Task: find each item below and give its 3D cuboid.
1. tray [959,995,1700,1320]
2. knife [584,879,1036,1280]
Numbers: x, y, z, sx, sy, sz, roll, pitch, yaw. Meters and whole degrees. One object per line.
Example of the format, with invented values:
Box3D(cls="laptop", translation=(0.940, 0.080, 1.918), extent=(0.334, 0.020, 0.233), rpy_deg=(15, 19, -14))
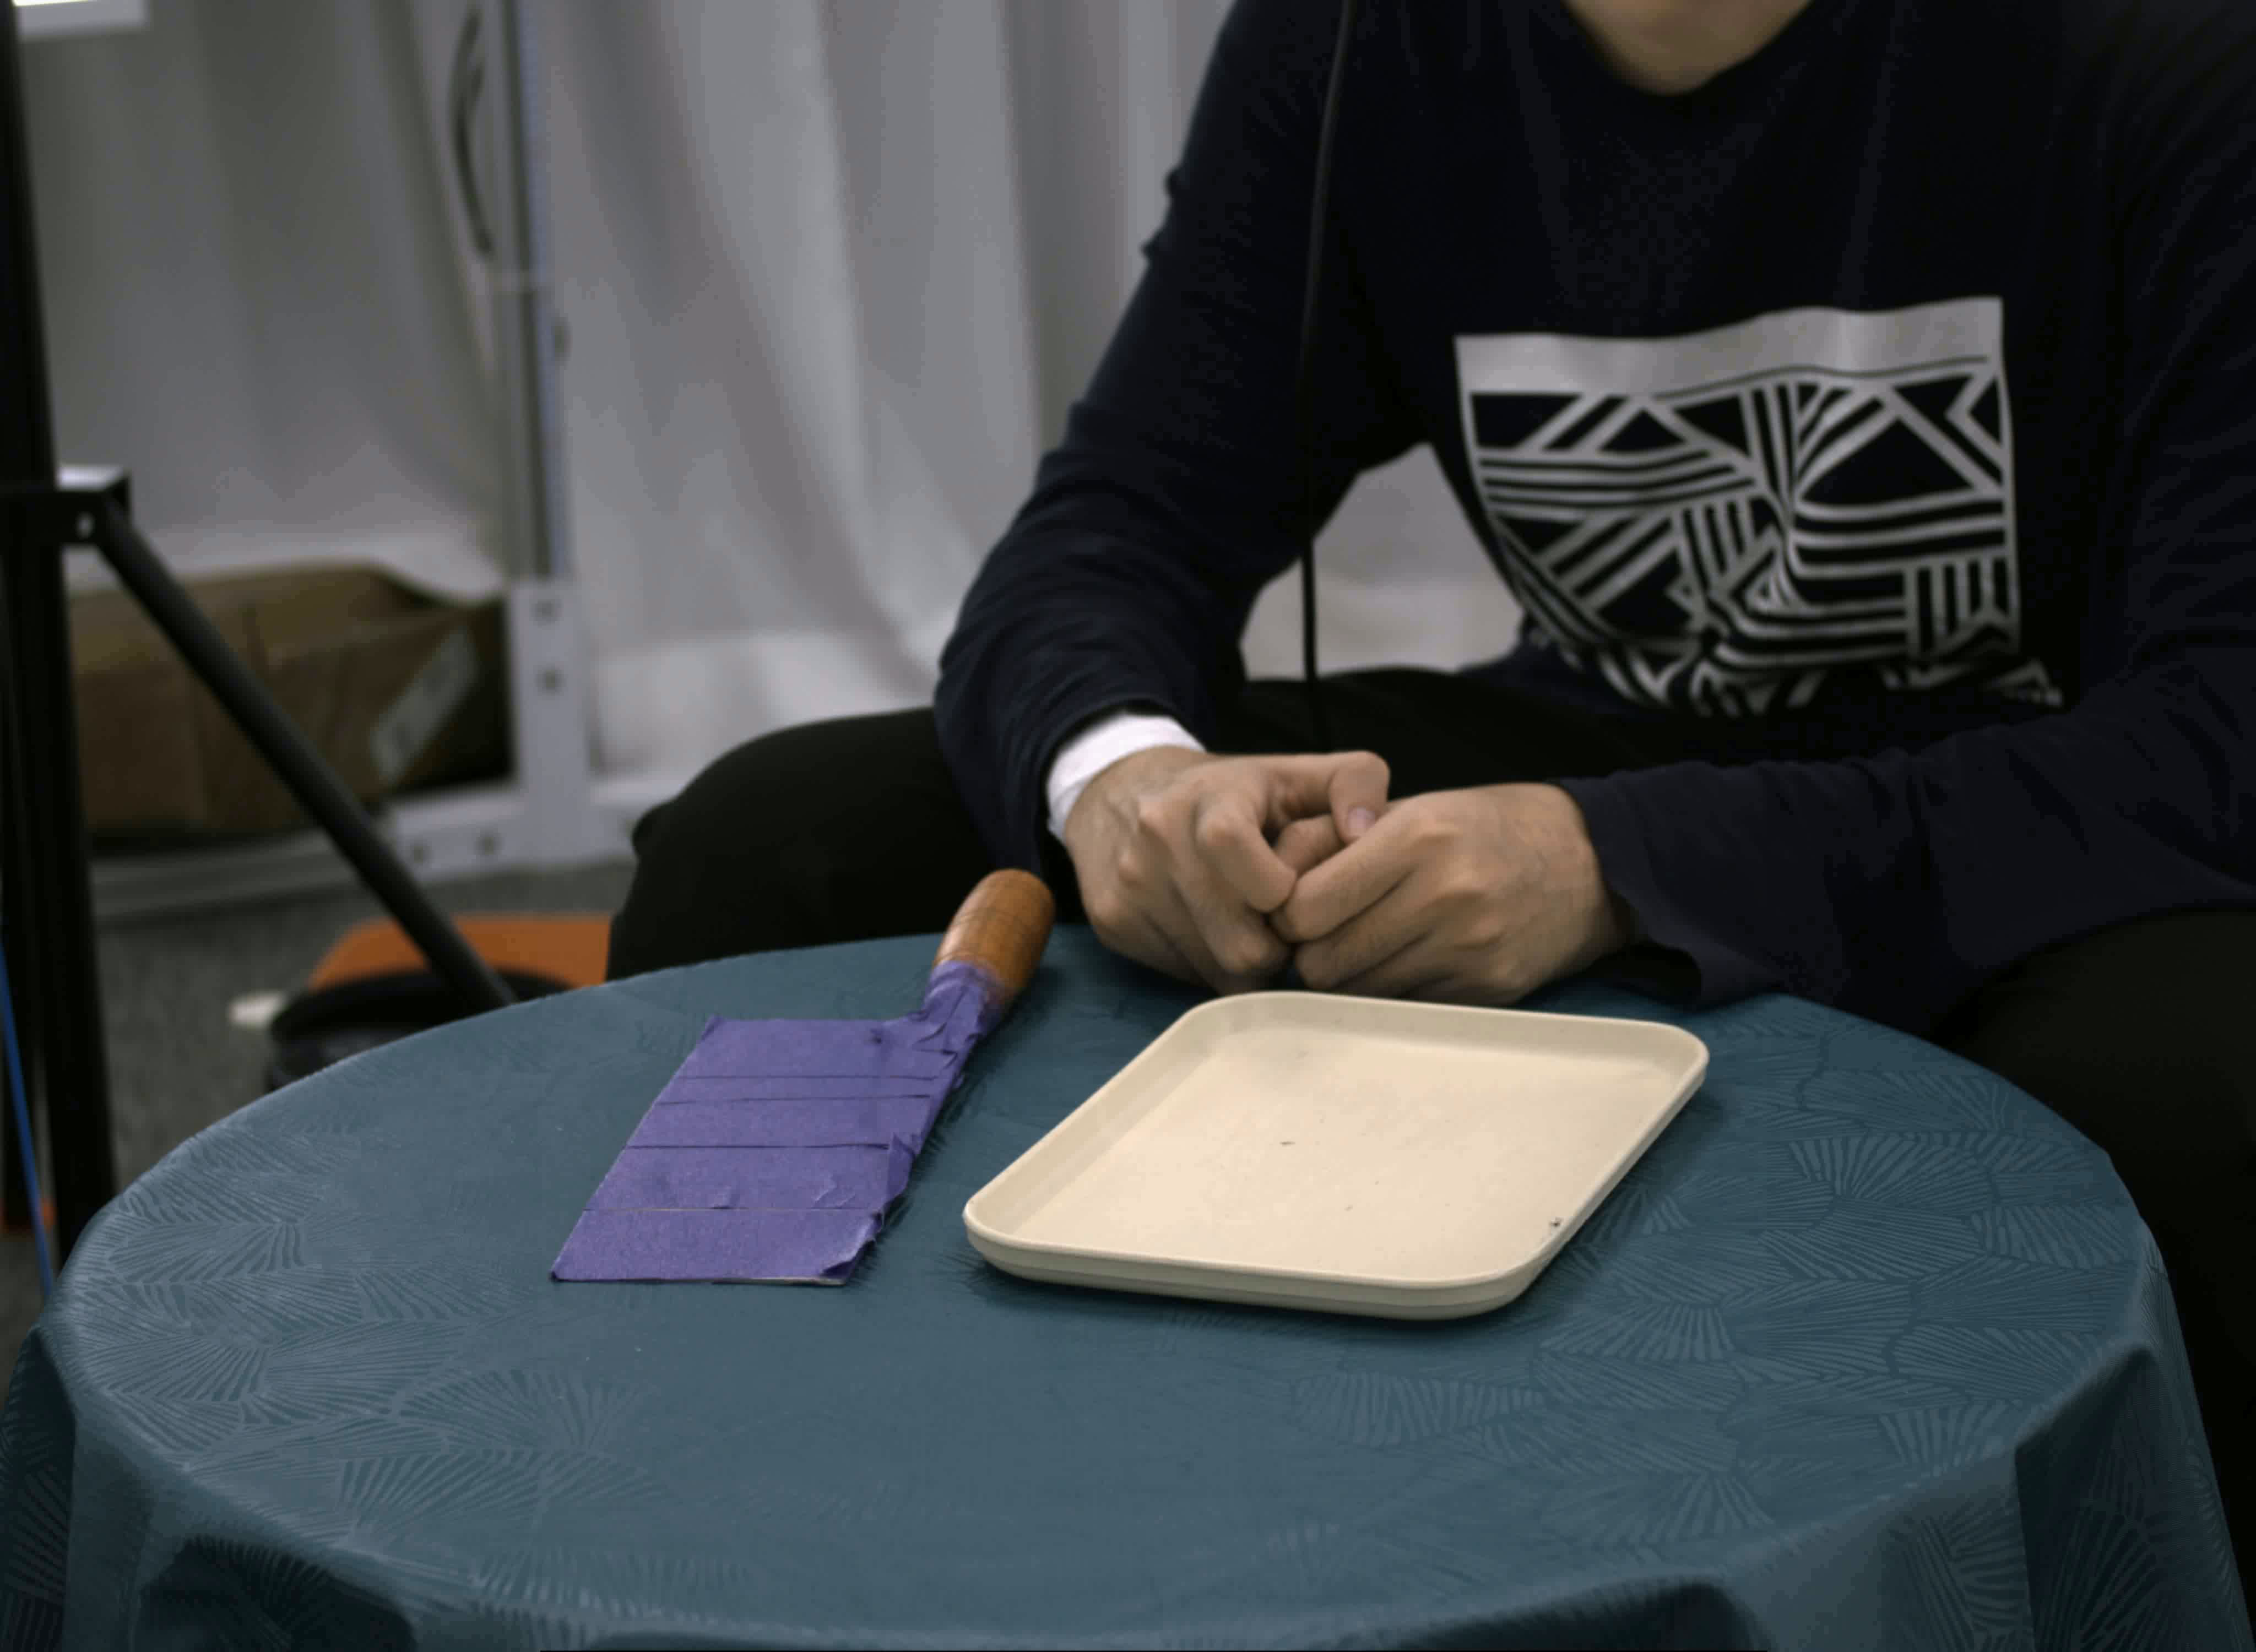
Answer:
Box3D(cls="tray", translation=(0.064, 0.096, 1.562), extent=(0.173, 0.017, 0.236), rpy_deg=(3, 17, 22))
Box3D(cls="knife", translation=(-0.096, 0.075, 1.645), extent=(0.104, 0.032, 0.314), rpy_deg=(1, 16, 9))
